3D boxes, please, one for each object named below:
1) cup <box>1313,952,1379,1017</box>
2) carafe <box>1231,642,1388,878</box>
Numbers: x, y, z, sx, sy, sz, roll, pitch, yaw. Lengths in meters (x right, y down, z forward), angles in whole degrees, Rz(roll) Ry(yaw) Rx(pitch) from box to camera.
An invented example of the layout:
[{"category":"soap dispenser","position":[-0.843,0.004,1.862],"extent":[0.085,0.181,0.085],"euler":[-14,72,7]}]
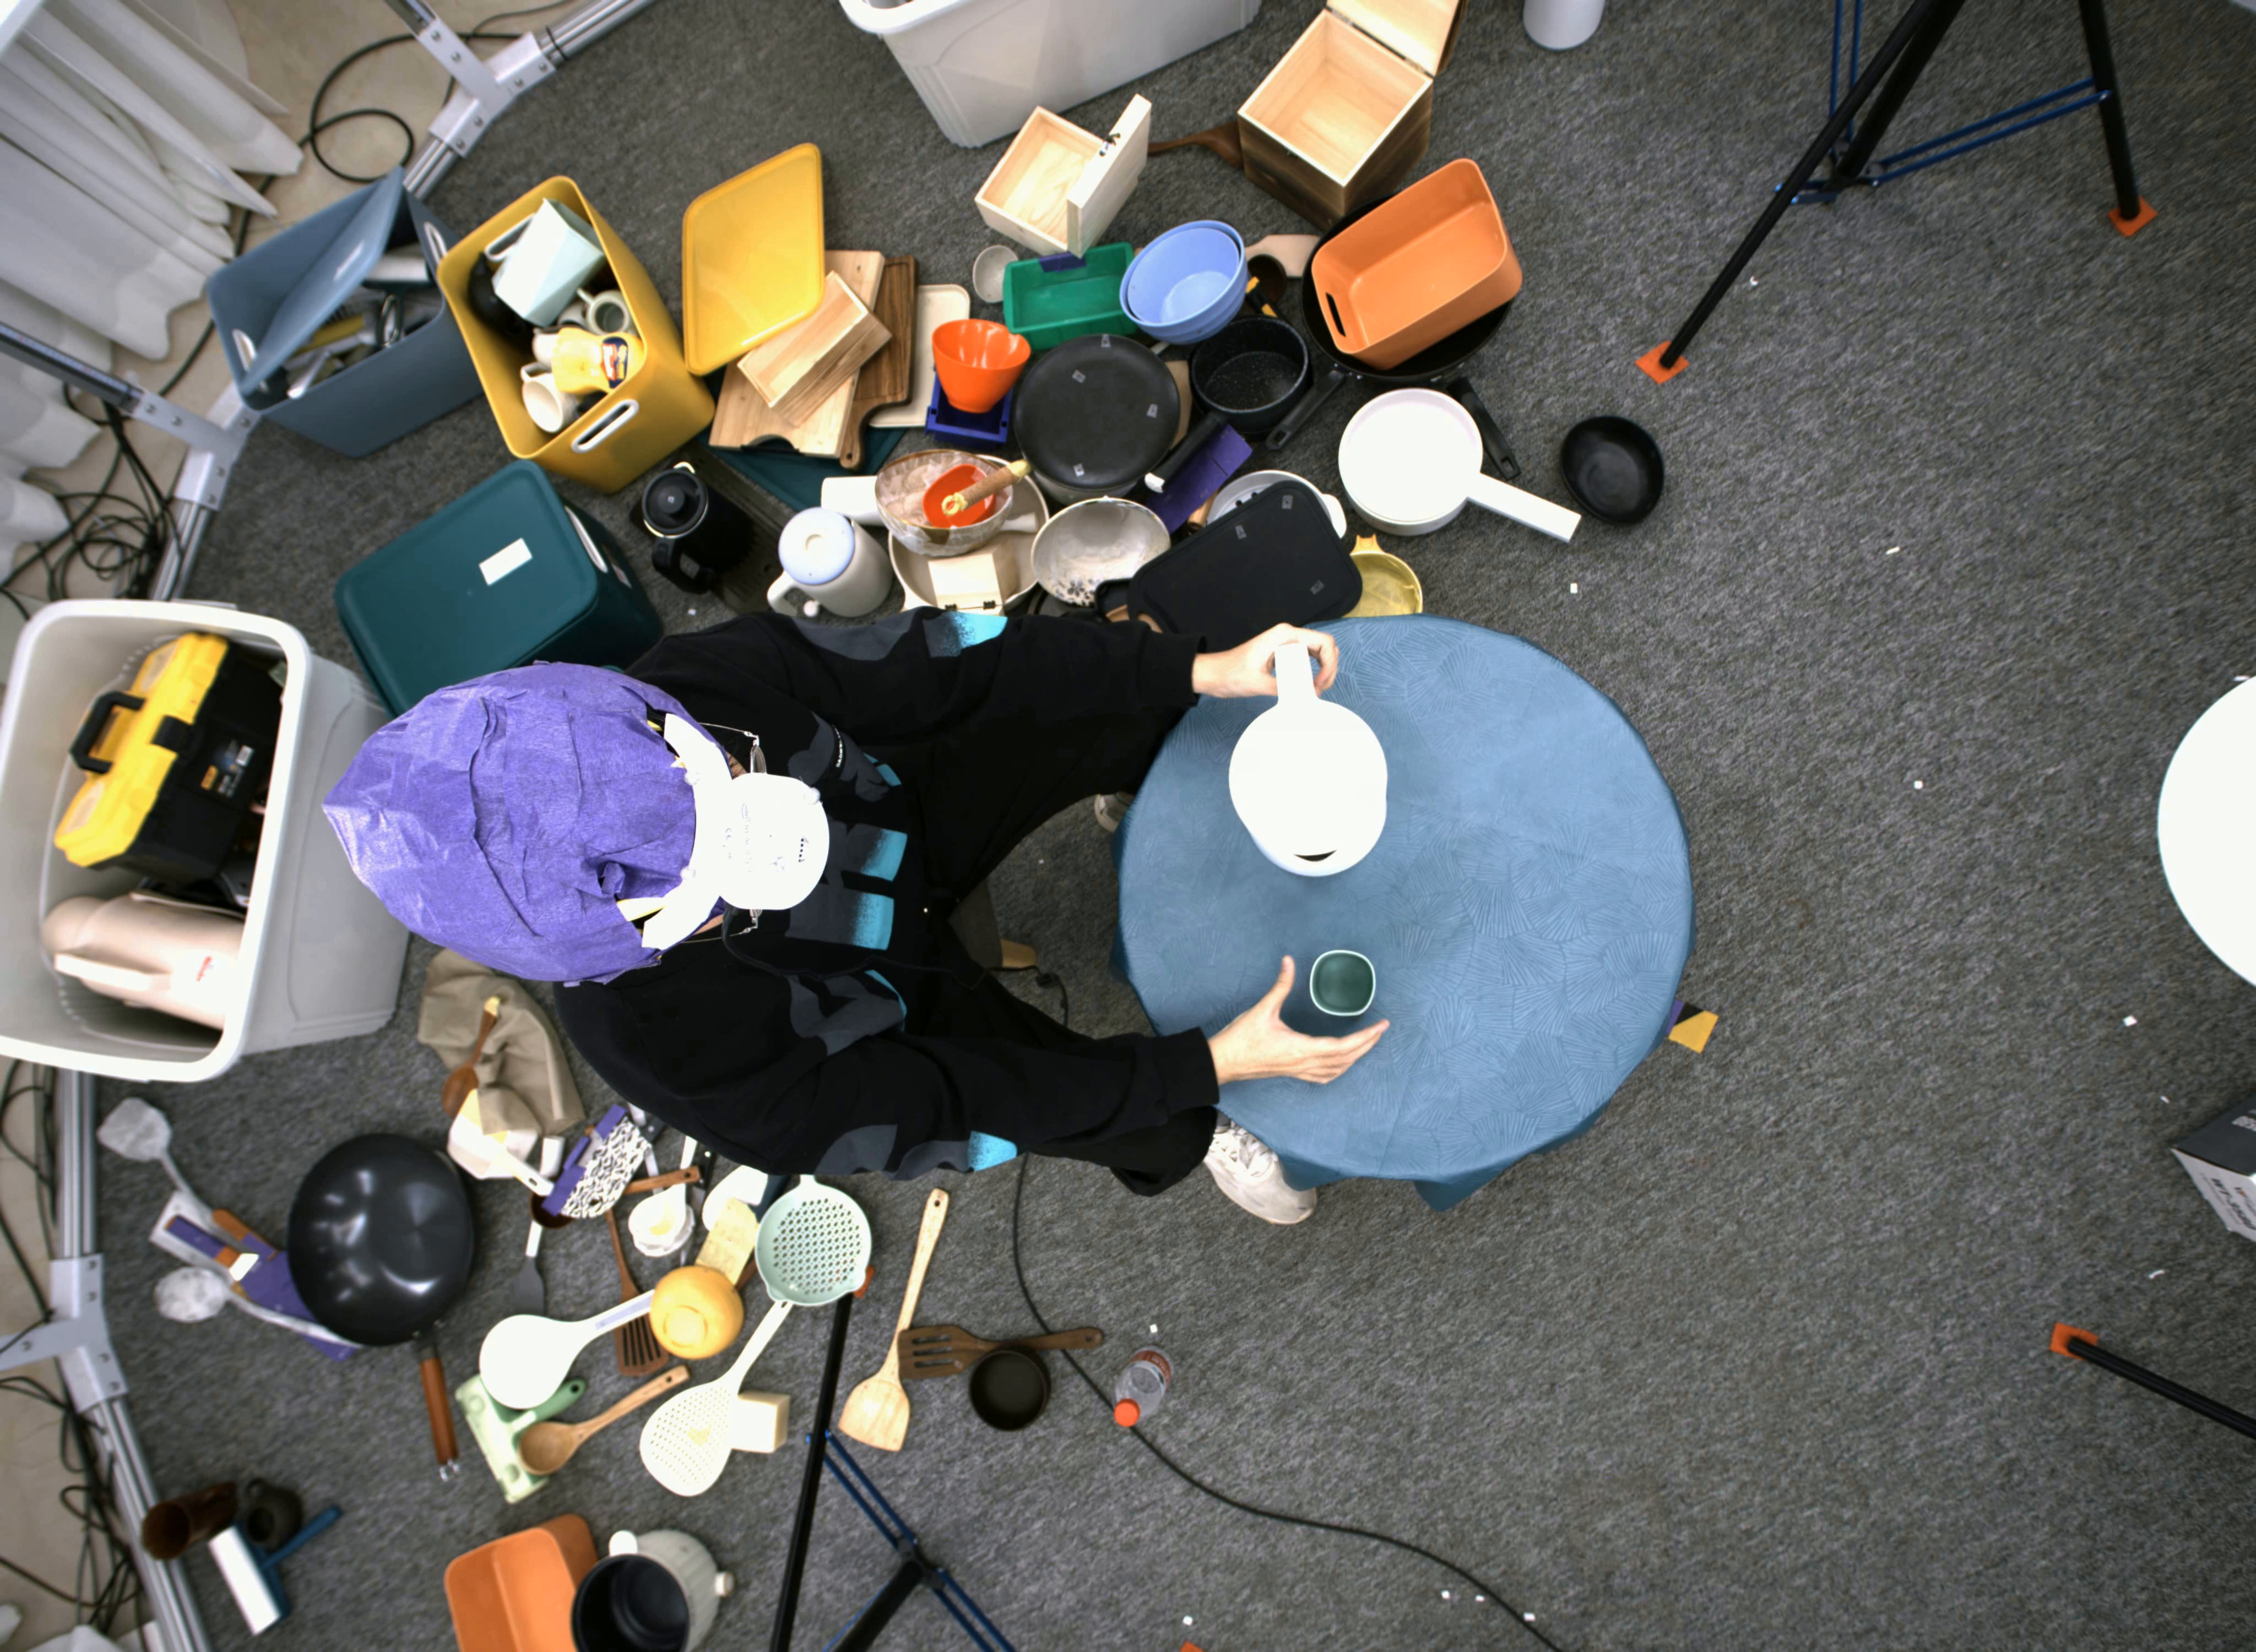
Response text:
[{"category":"cup","position":[0.218,0.157,1.398],"extent":[0.067,0.132,0.066],"euler":[-1,86,8]},{"category":"carafe","position":[0.180,-0.060,1.361],"extent":[0.153,0.240,0.212],"euler":[-6,85,8]}]
